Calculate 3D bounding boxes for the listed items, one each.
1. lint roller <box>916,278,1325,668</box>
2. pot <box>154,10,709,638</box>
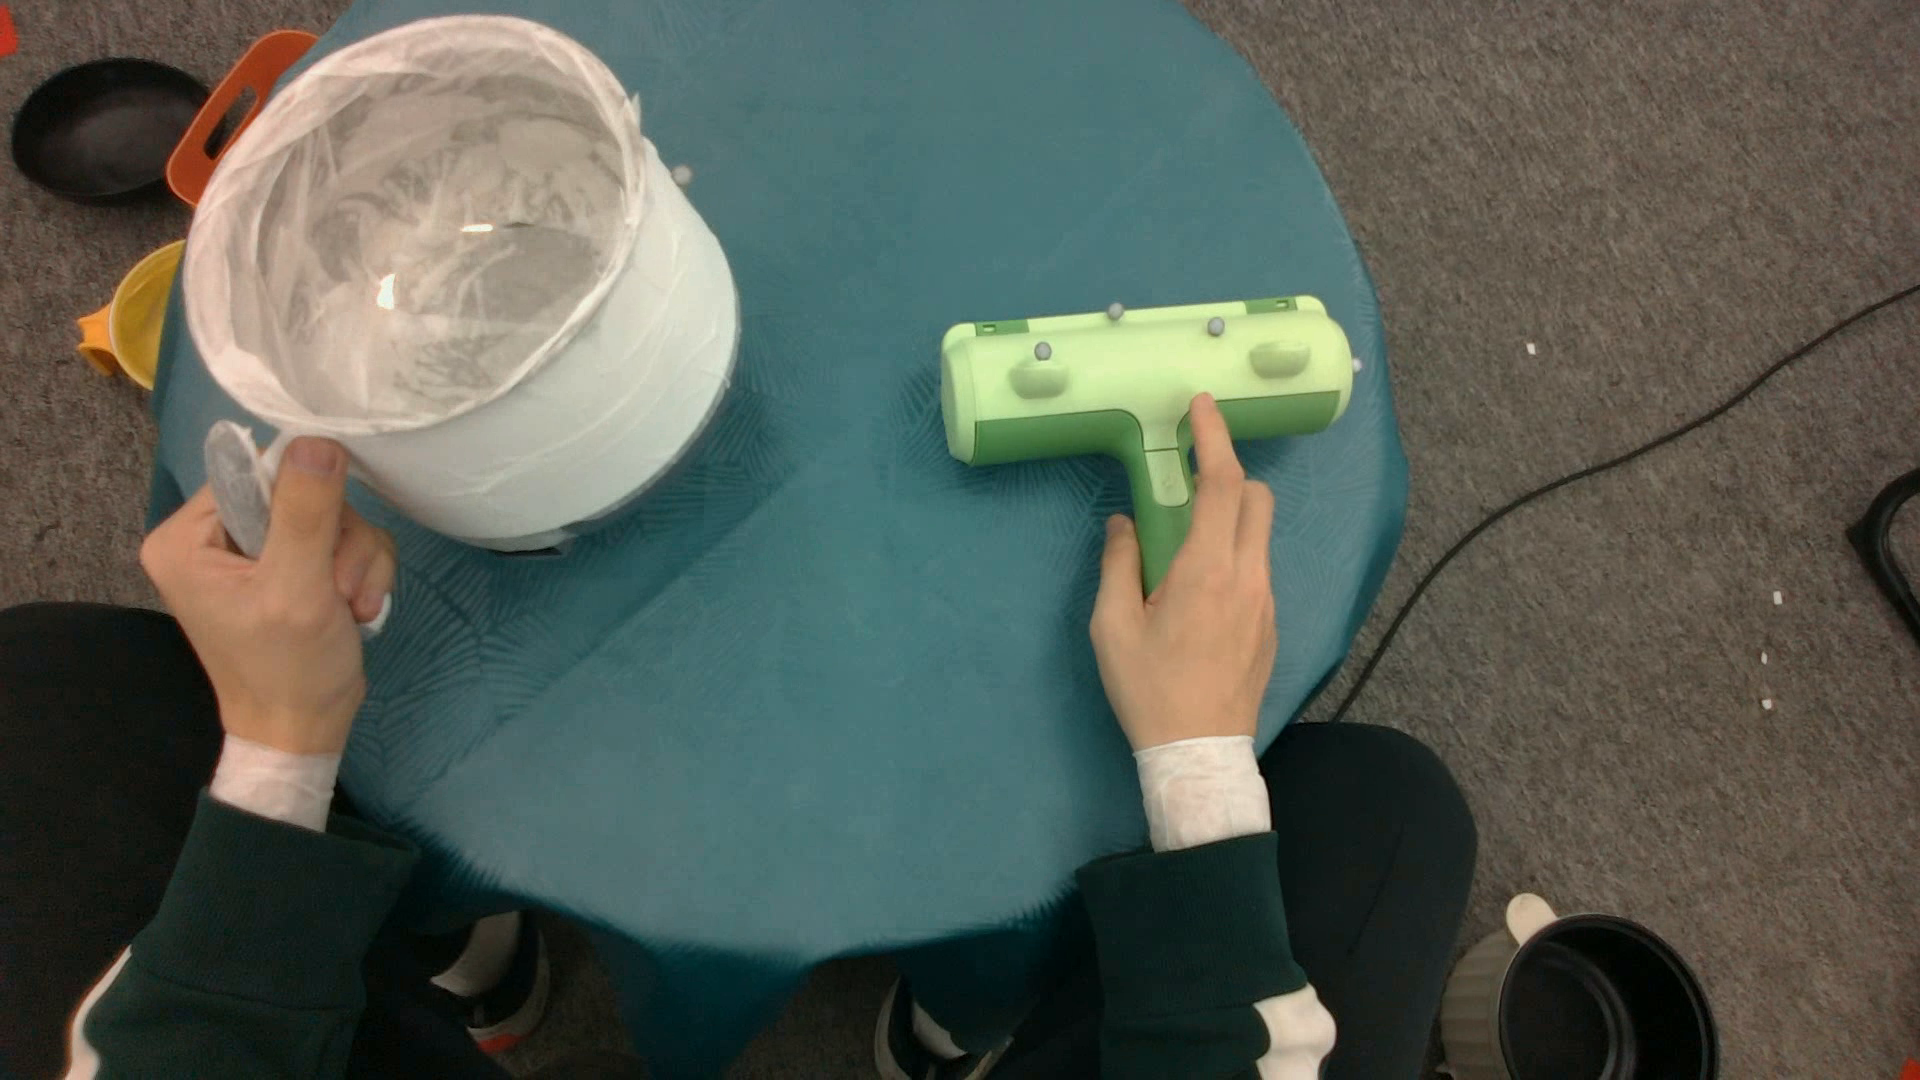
[{"bbox_3d":[0.088,-0.037,0.643,0.199,0.082,0.184,-7,67,-10],"label":"lint roller"},{"bbox_3d":[-0.212,-0.075,0.547,0.178,0.136,0.234,25,74,17],"label":"pot"}]
